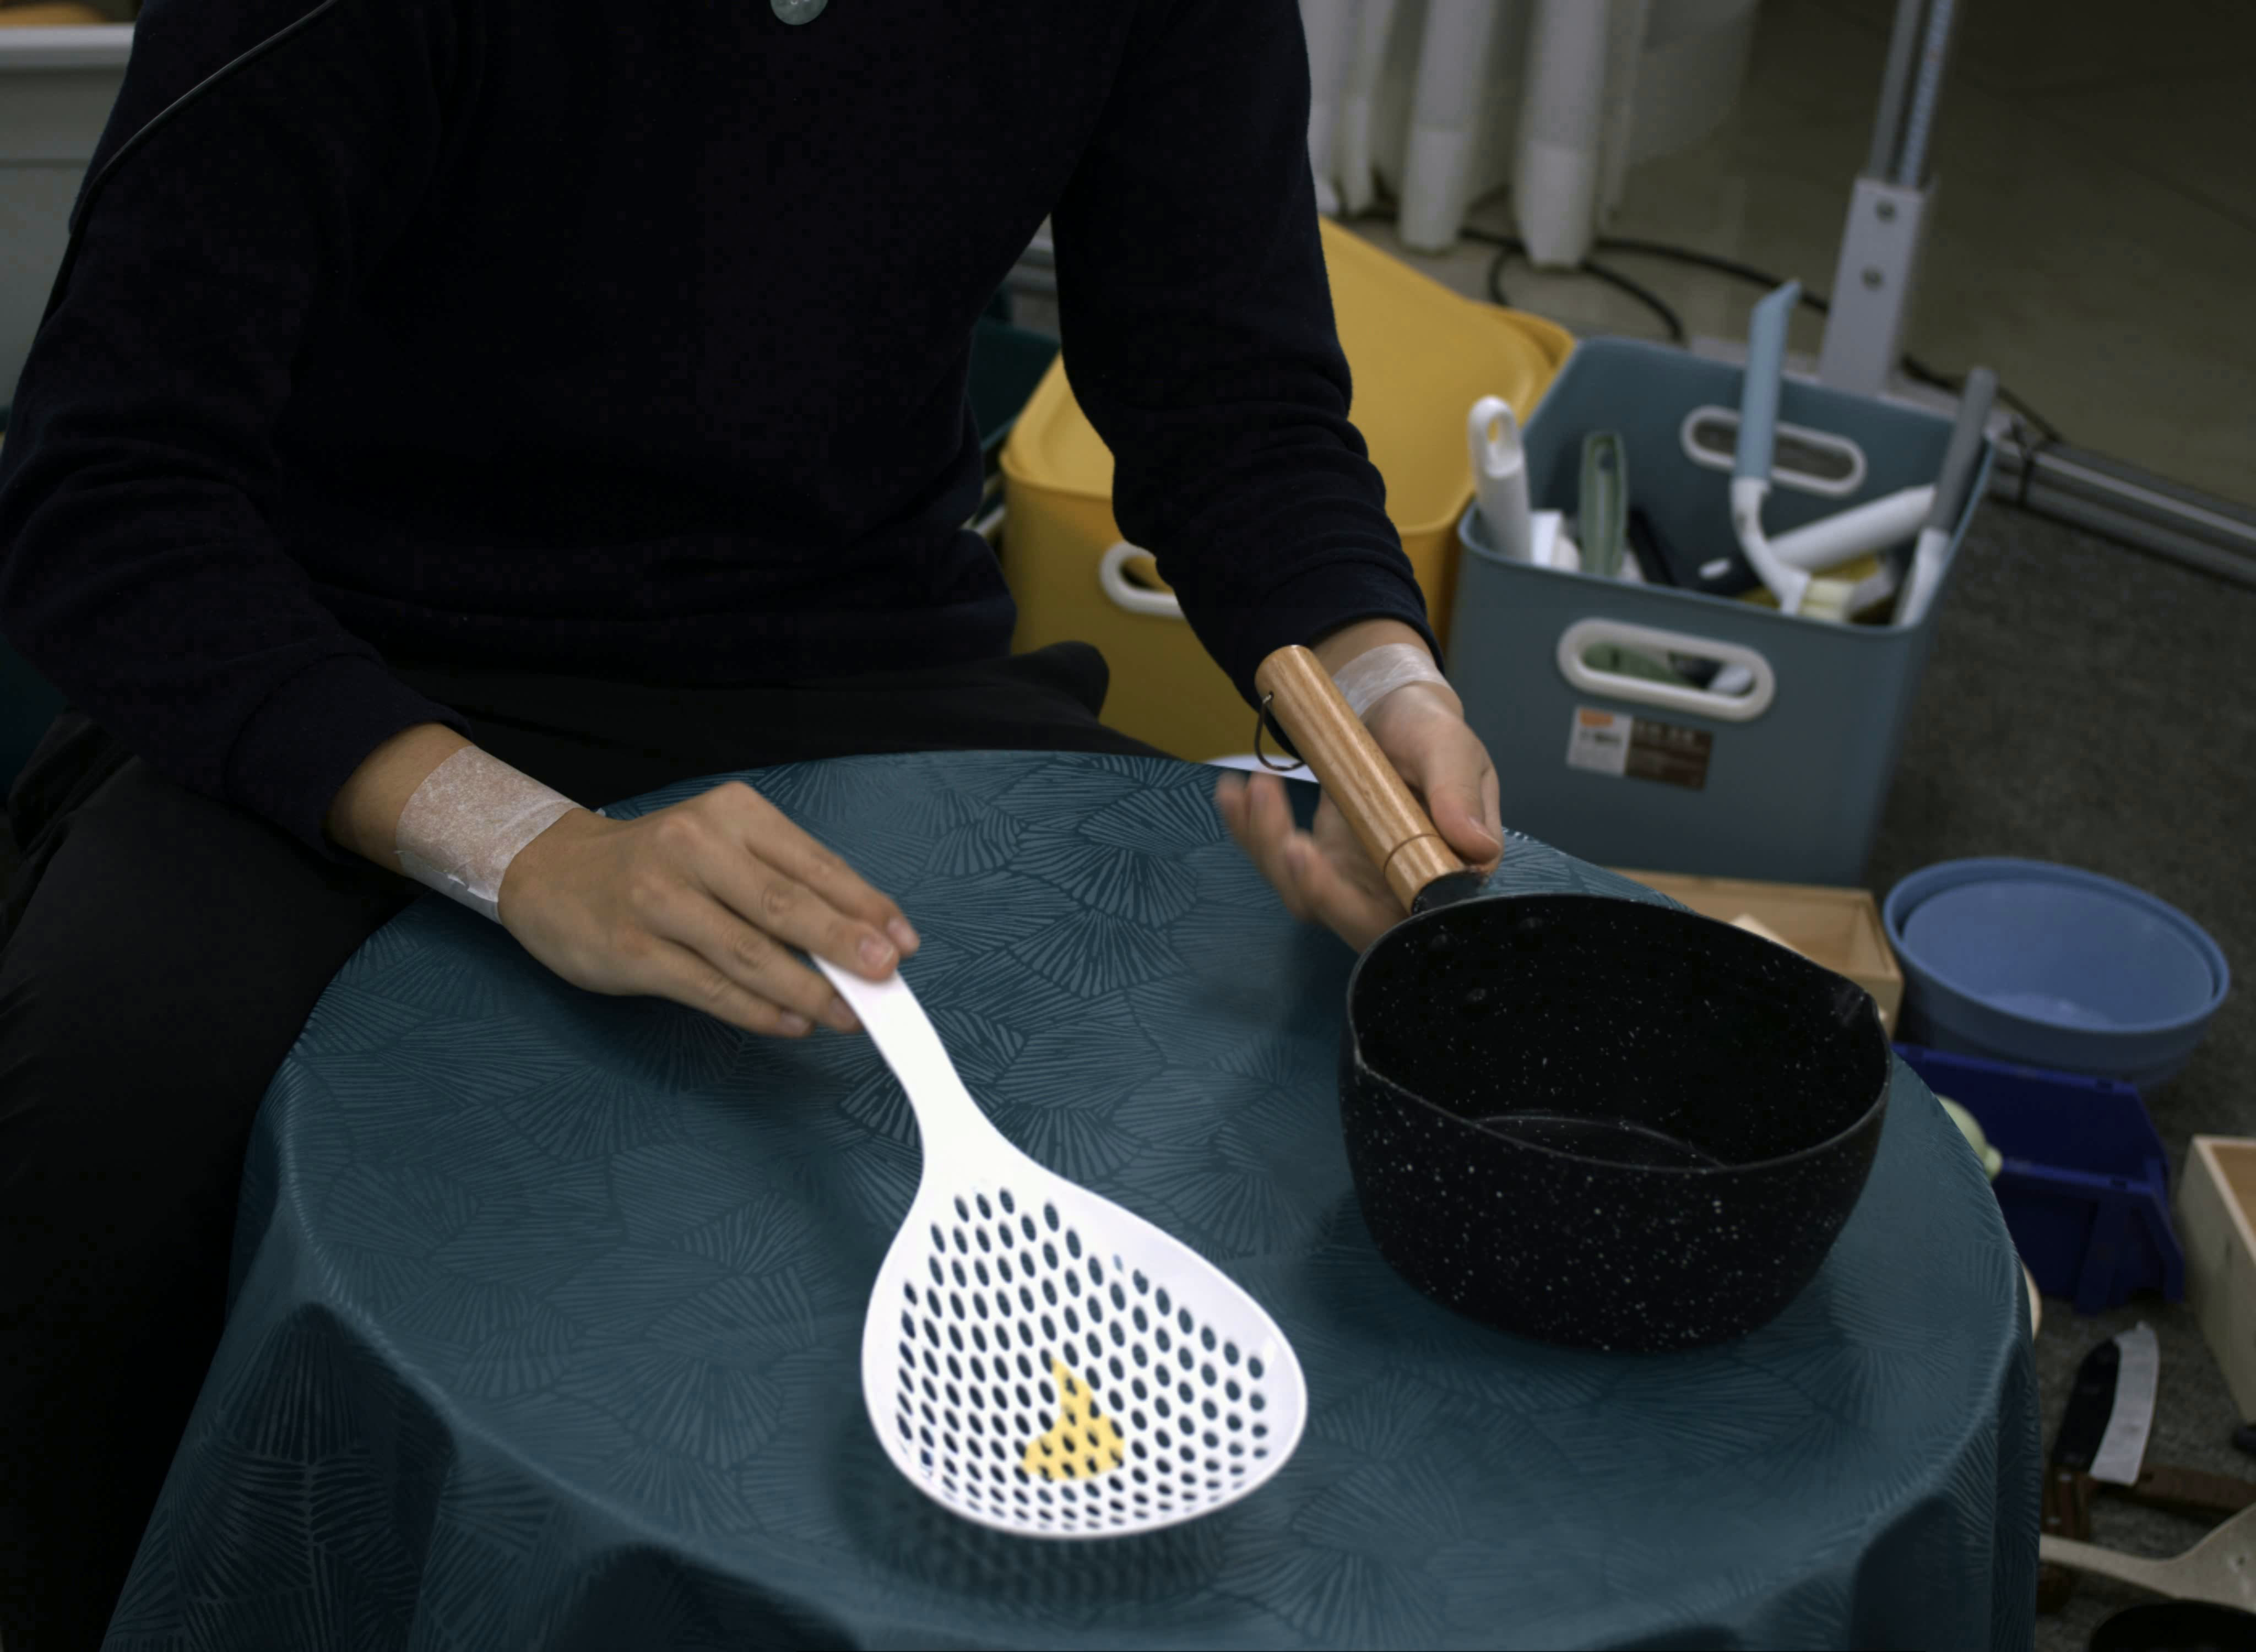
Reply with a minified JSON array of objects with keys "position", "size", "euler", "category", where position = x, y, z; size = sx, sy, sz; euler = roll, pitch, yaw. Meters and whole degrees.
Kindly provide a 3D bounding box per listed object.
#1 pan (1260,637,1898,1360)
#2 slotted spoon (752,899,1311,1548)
[{"position":[0.125,0.056,1.843],"size":[0.206,0.108,0.346],"euler":[-9,32,-26],"category":"pan"},{"position":[-0.054,0.116,1.714],"size":[0.136,0.050,0.351],"euler":[-13,43,-17],"category":"slotted spoon"}]
